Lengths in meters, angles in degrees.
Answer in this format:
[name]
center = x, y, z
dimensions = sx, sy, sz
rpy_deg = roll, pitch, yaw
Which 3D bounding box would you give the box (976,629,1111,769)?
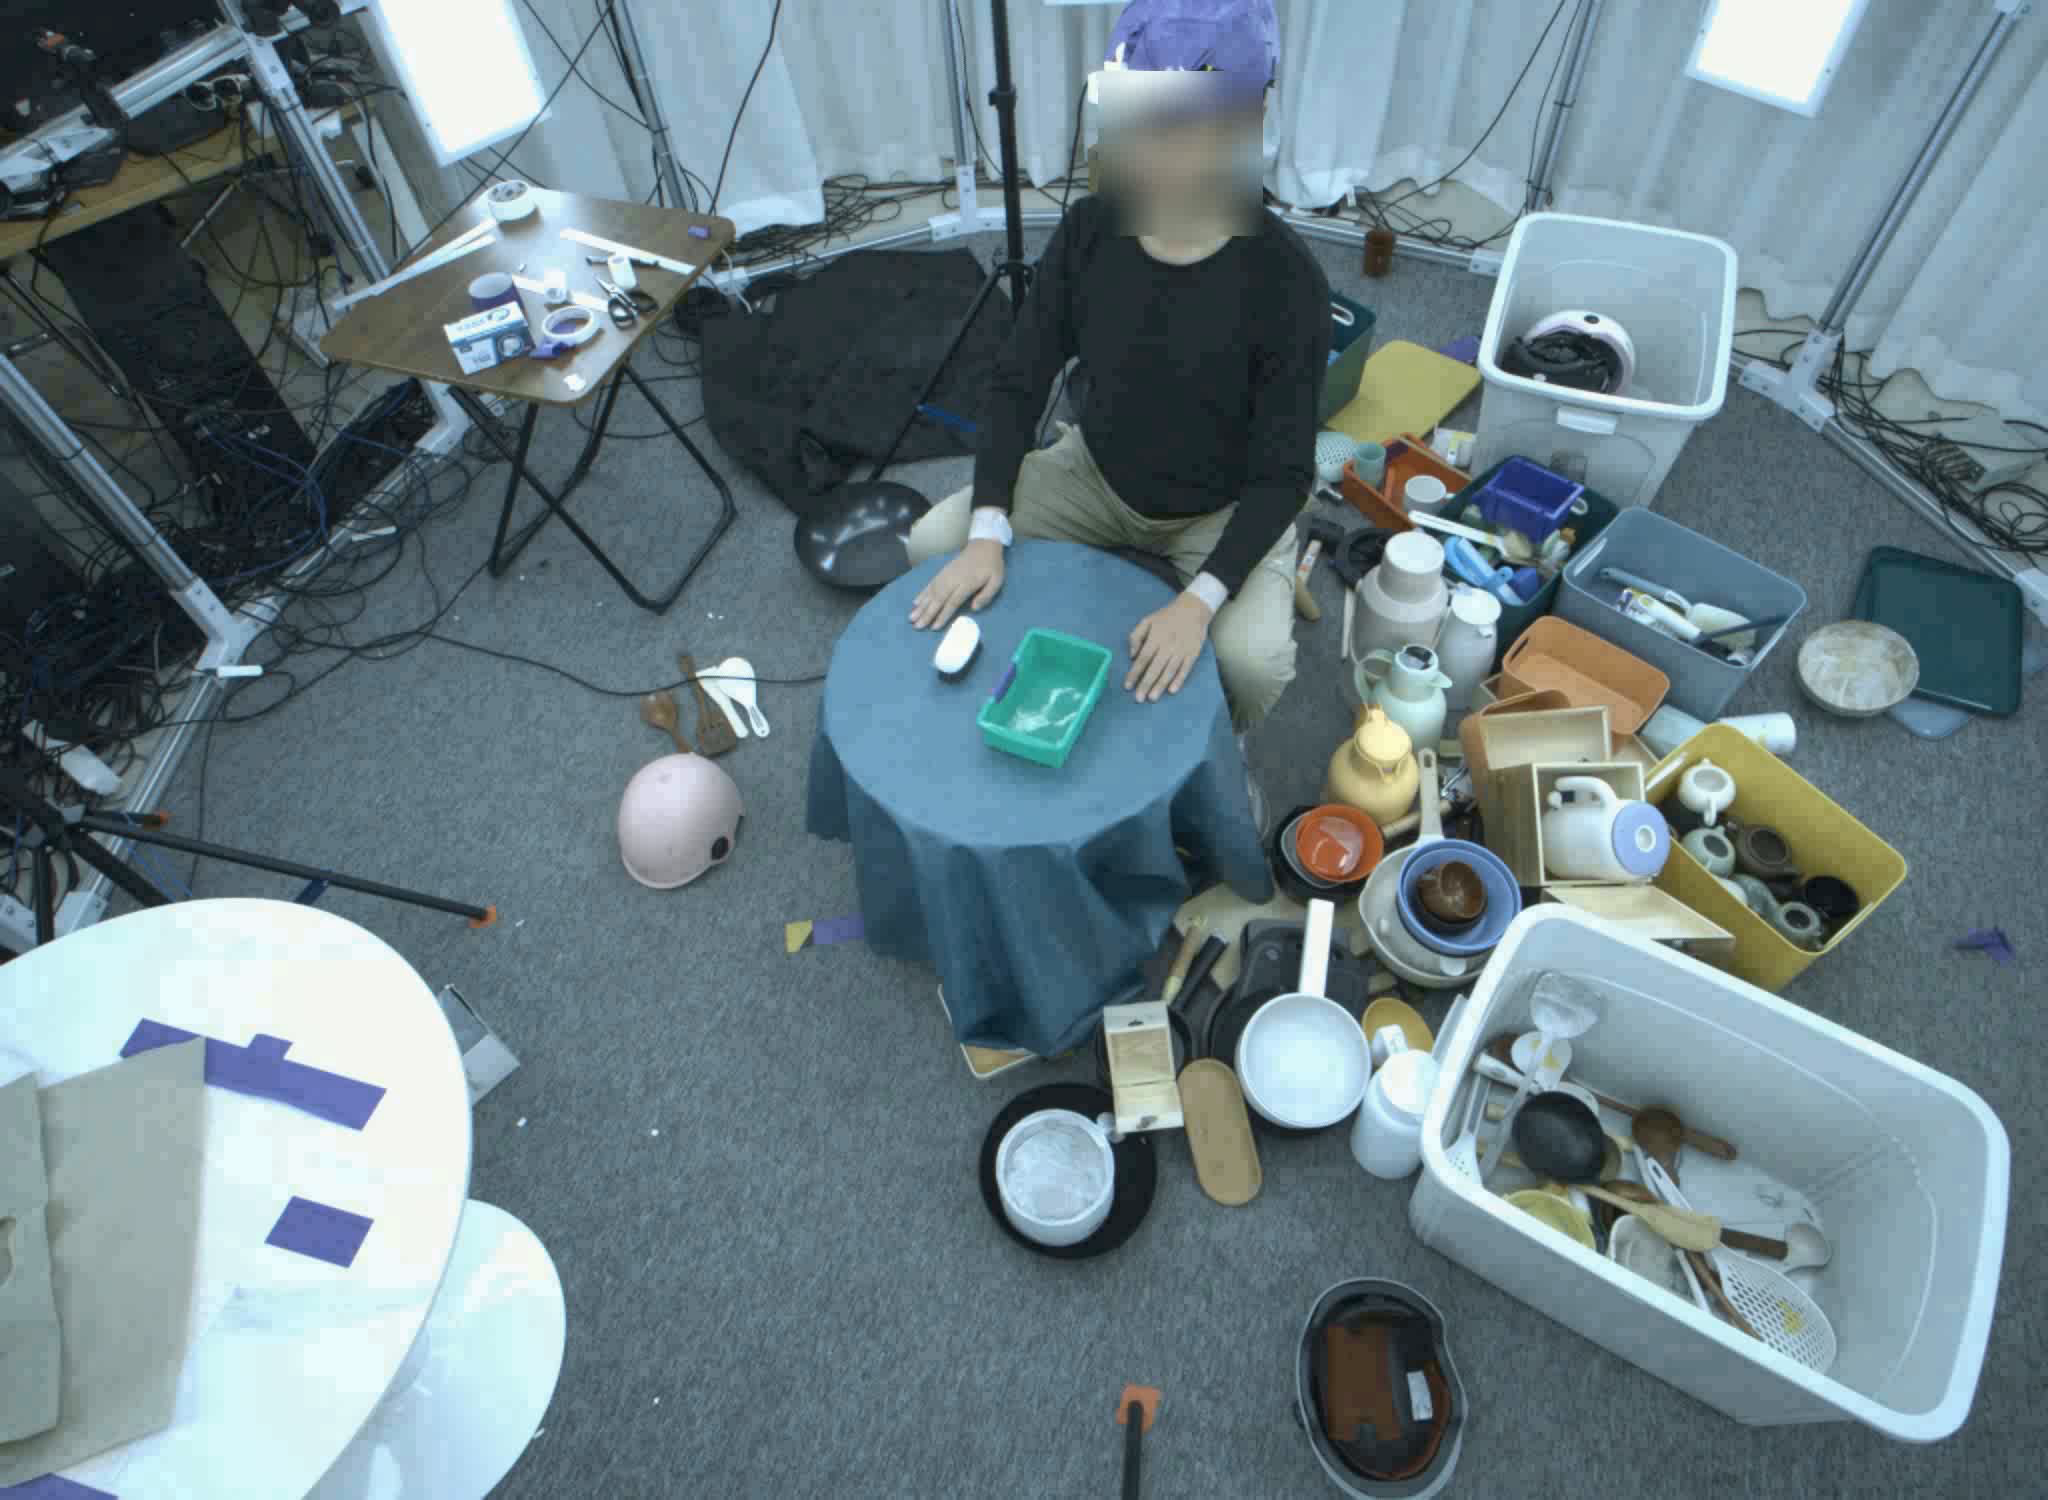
[box]
center = 0.032, -0.072, 1.800
dimensions = 0.137, 0.066, 0.210
rpy_deg = 16, 58, 16

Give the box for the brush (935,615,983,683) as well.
[brush]
center = -0.102, -0.161, 1.859
dimensions = 0.049, 0.073, 0.099
rpy_deg = 19, 58, 17
